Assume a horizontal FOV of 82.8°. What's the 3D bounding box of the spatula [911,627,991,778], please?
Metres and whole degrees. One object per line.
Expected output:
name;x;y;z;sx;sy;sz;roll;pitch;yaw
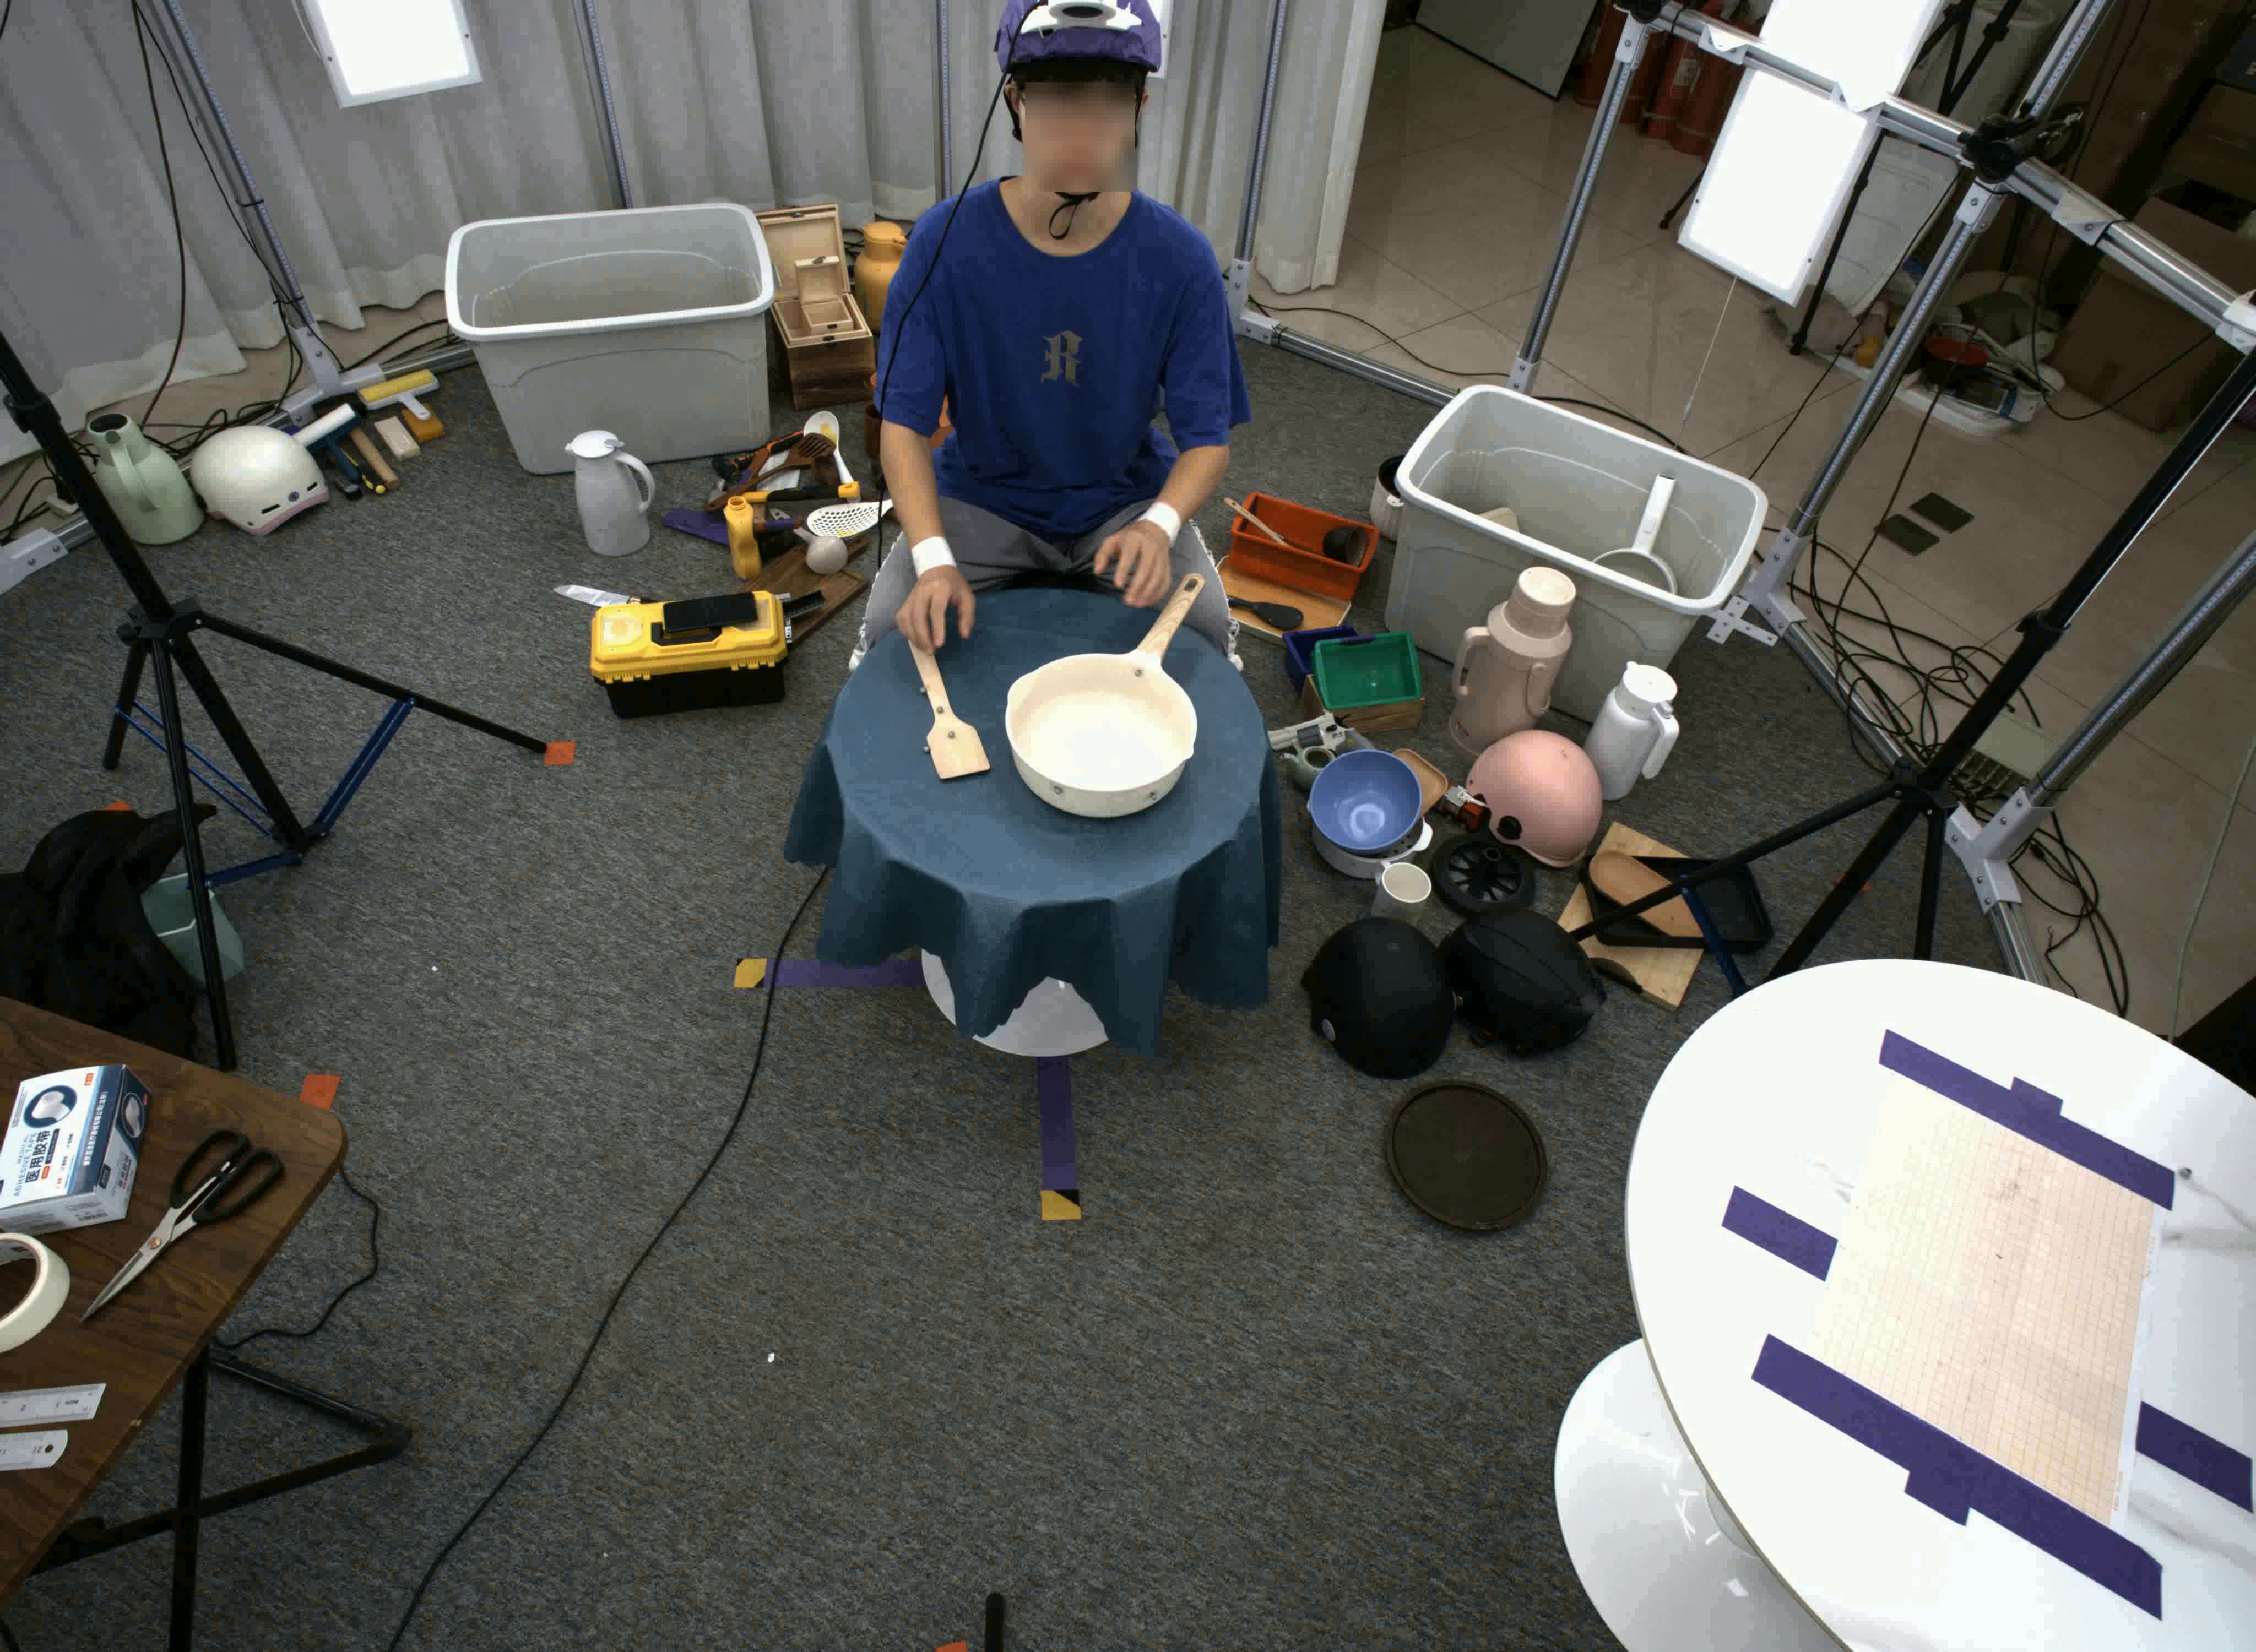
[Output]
spatula;-0.262;-0.179;1.805;0.072;0.010;0.300;-13;52;-13

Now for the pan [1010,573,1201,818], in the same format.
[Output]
pan;0.008;-0.183;1.767;0.265;0.099;0.443;20;51;15
